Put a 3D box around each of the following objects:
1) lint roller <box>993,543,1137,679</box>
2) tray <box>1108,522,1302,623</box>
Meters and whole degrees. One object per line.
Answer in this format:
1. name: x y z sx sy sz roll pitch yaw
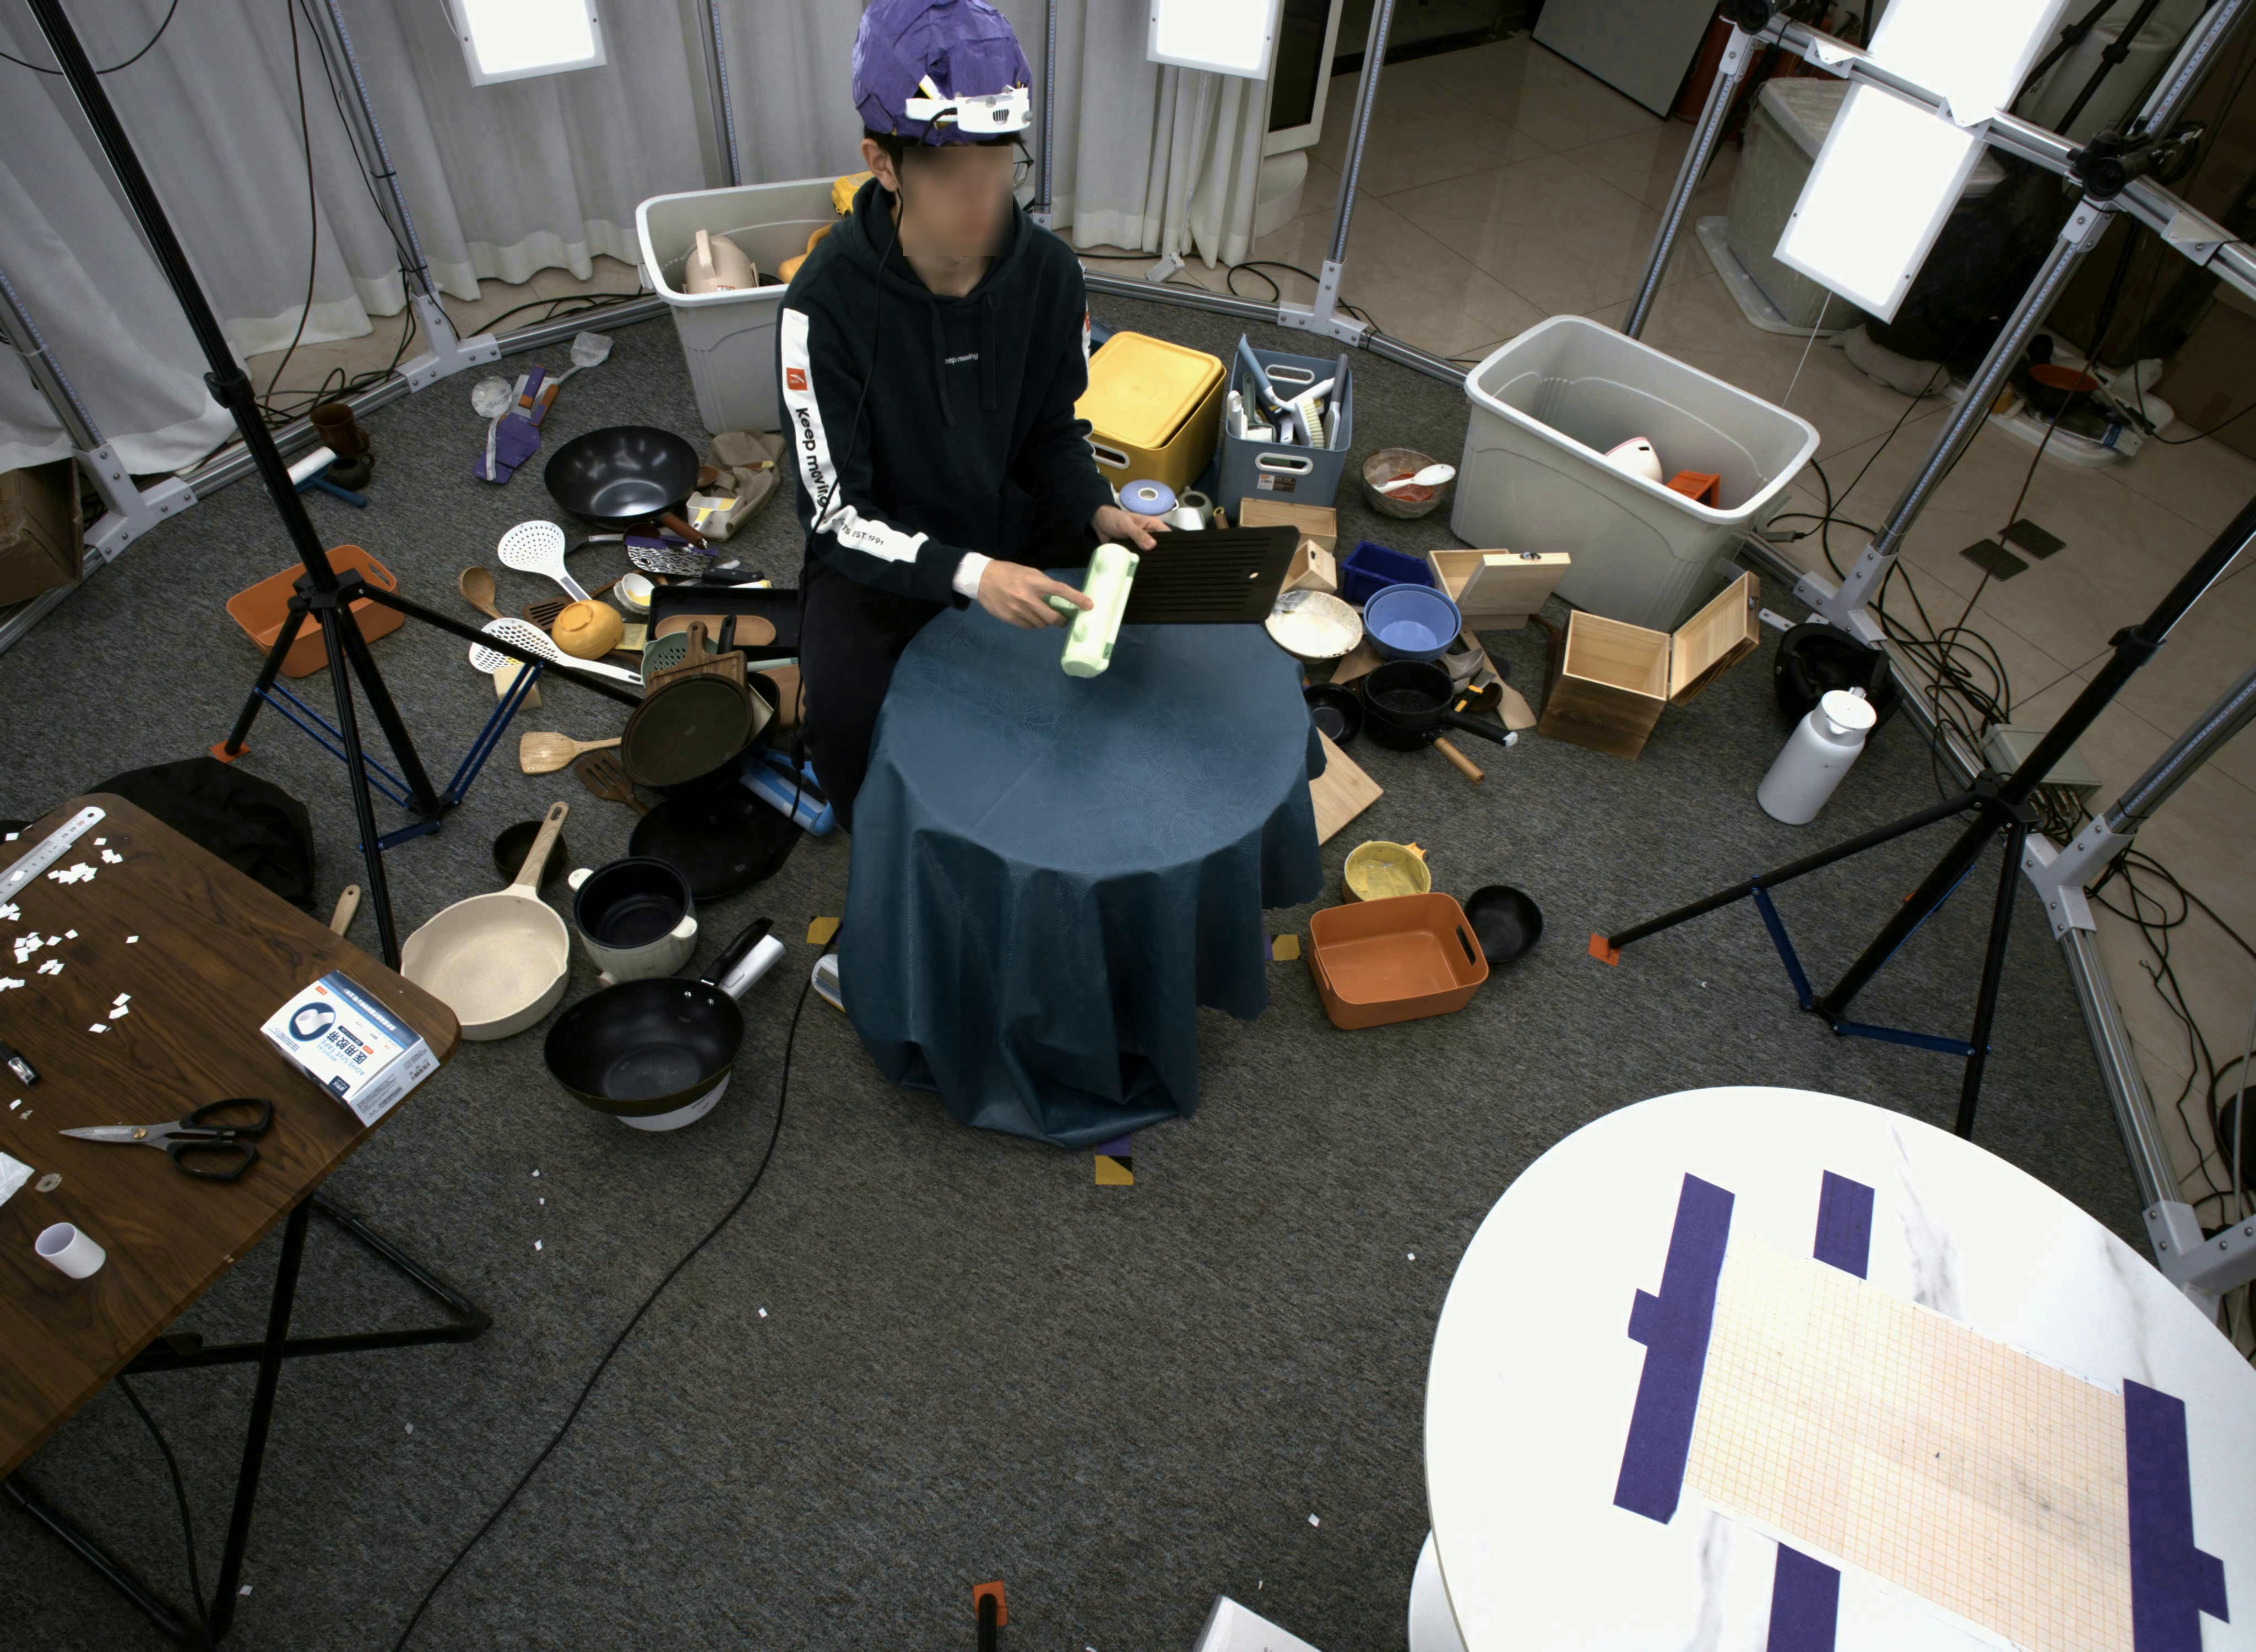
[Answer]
1. lint roller: -0.097 -0.307 1.739 0.183 0.080 0.202 12 64 6
2. tray: 0.082 -0.347 1.788 0.307 0.018 0.173 4 58 32
